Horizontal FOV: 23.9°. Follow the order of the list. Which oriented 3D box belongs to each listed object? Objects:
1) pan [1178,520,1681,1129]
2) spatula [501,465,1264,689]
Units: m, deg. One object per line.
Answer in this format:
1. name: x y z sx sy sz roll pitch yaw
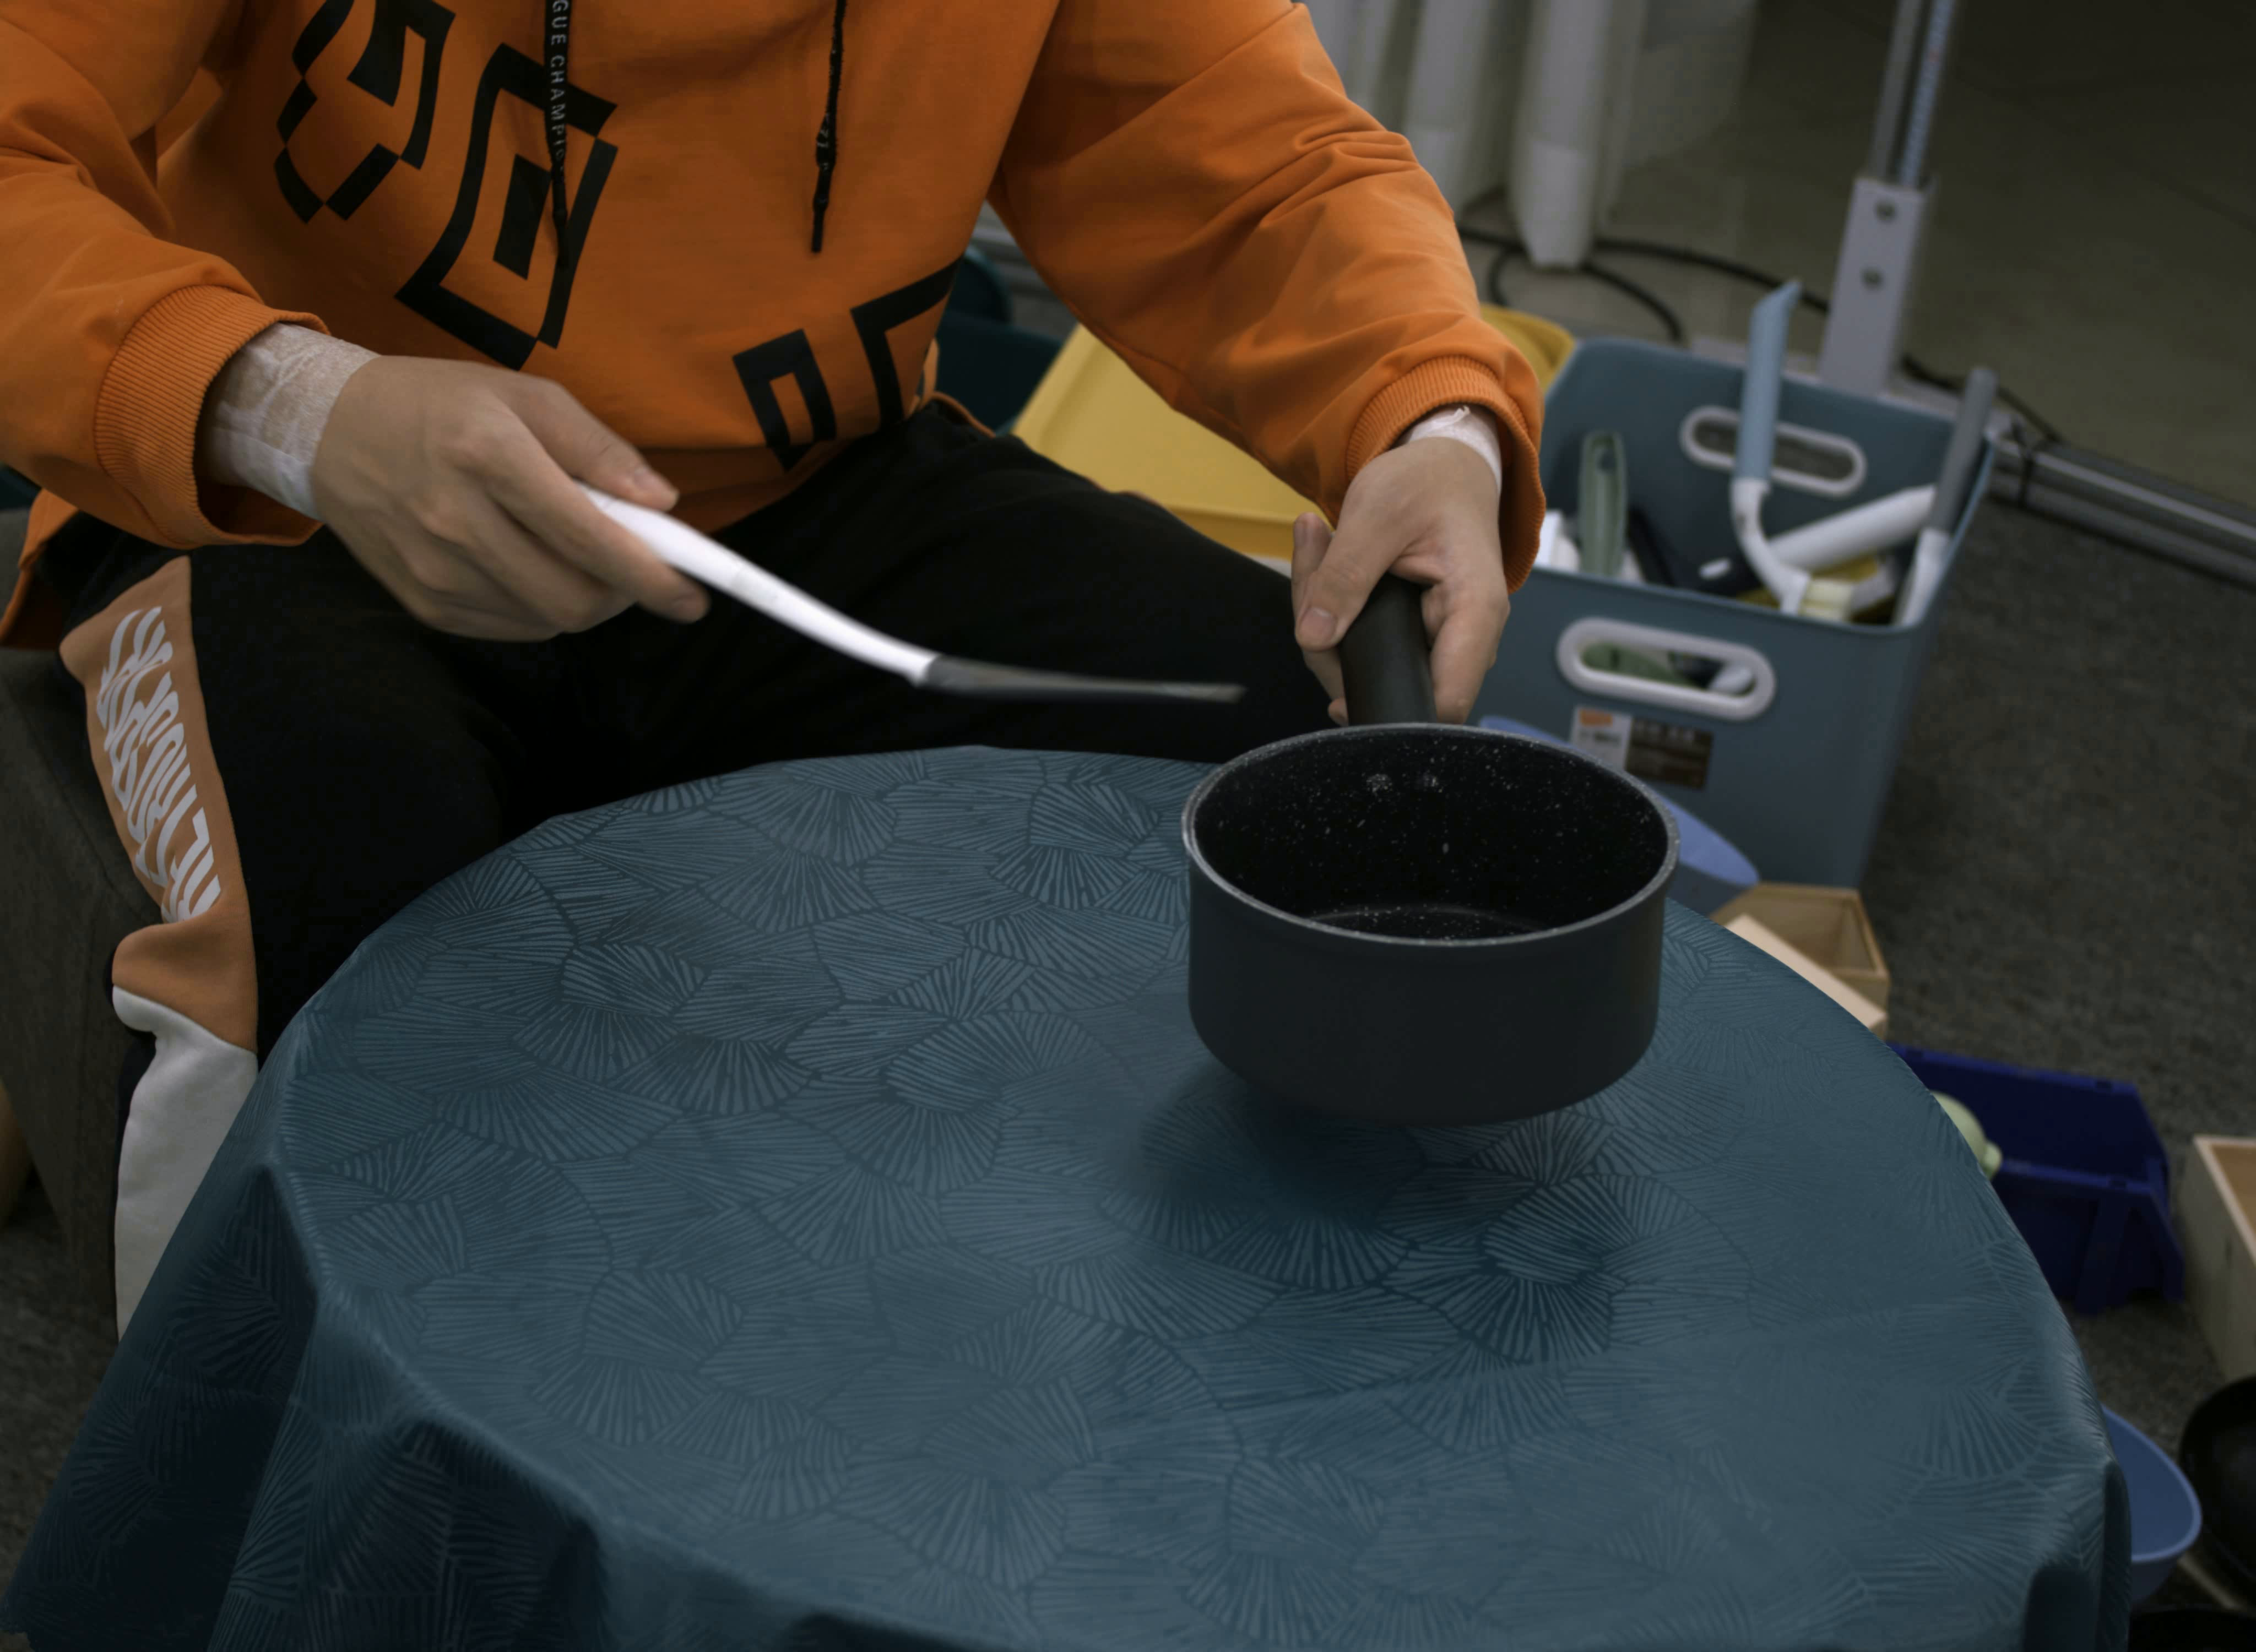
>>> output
1. pan: 0.101 -0.004 1.901 0.171 0.086 0.331 1 27 -1
2. spatula: -0.088 -0.074 1.786 0.289 0.032 0.058 16 8 28
